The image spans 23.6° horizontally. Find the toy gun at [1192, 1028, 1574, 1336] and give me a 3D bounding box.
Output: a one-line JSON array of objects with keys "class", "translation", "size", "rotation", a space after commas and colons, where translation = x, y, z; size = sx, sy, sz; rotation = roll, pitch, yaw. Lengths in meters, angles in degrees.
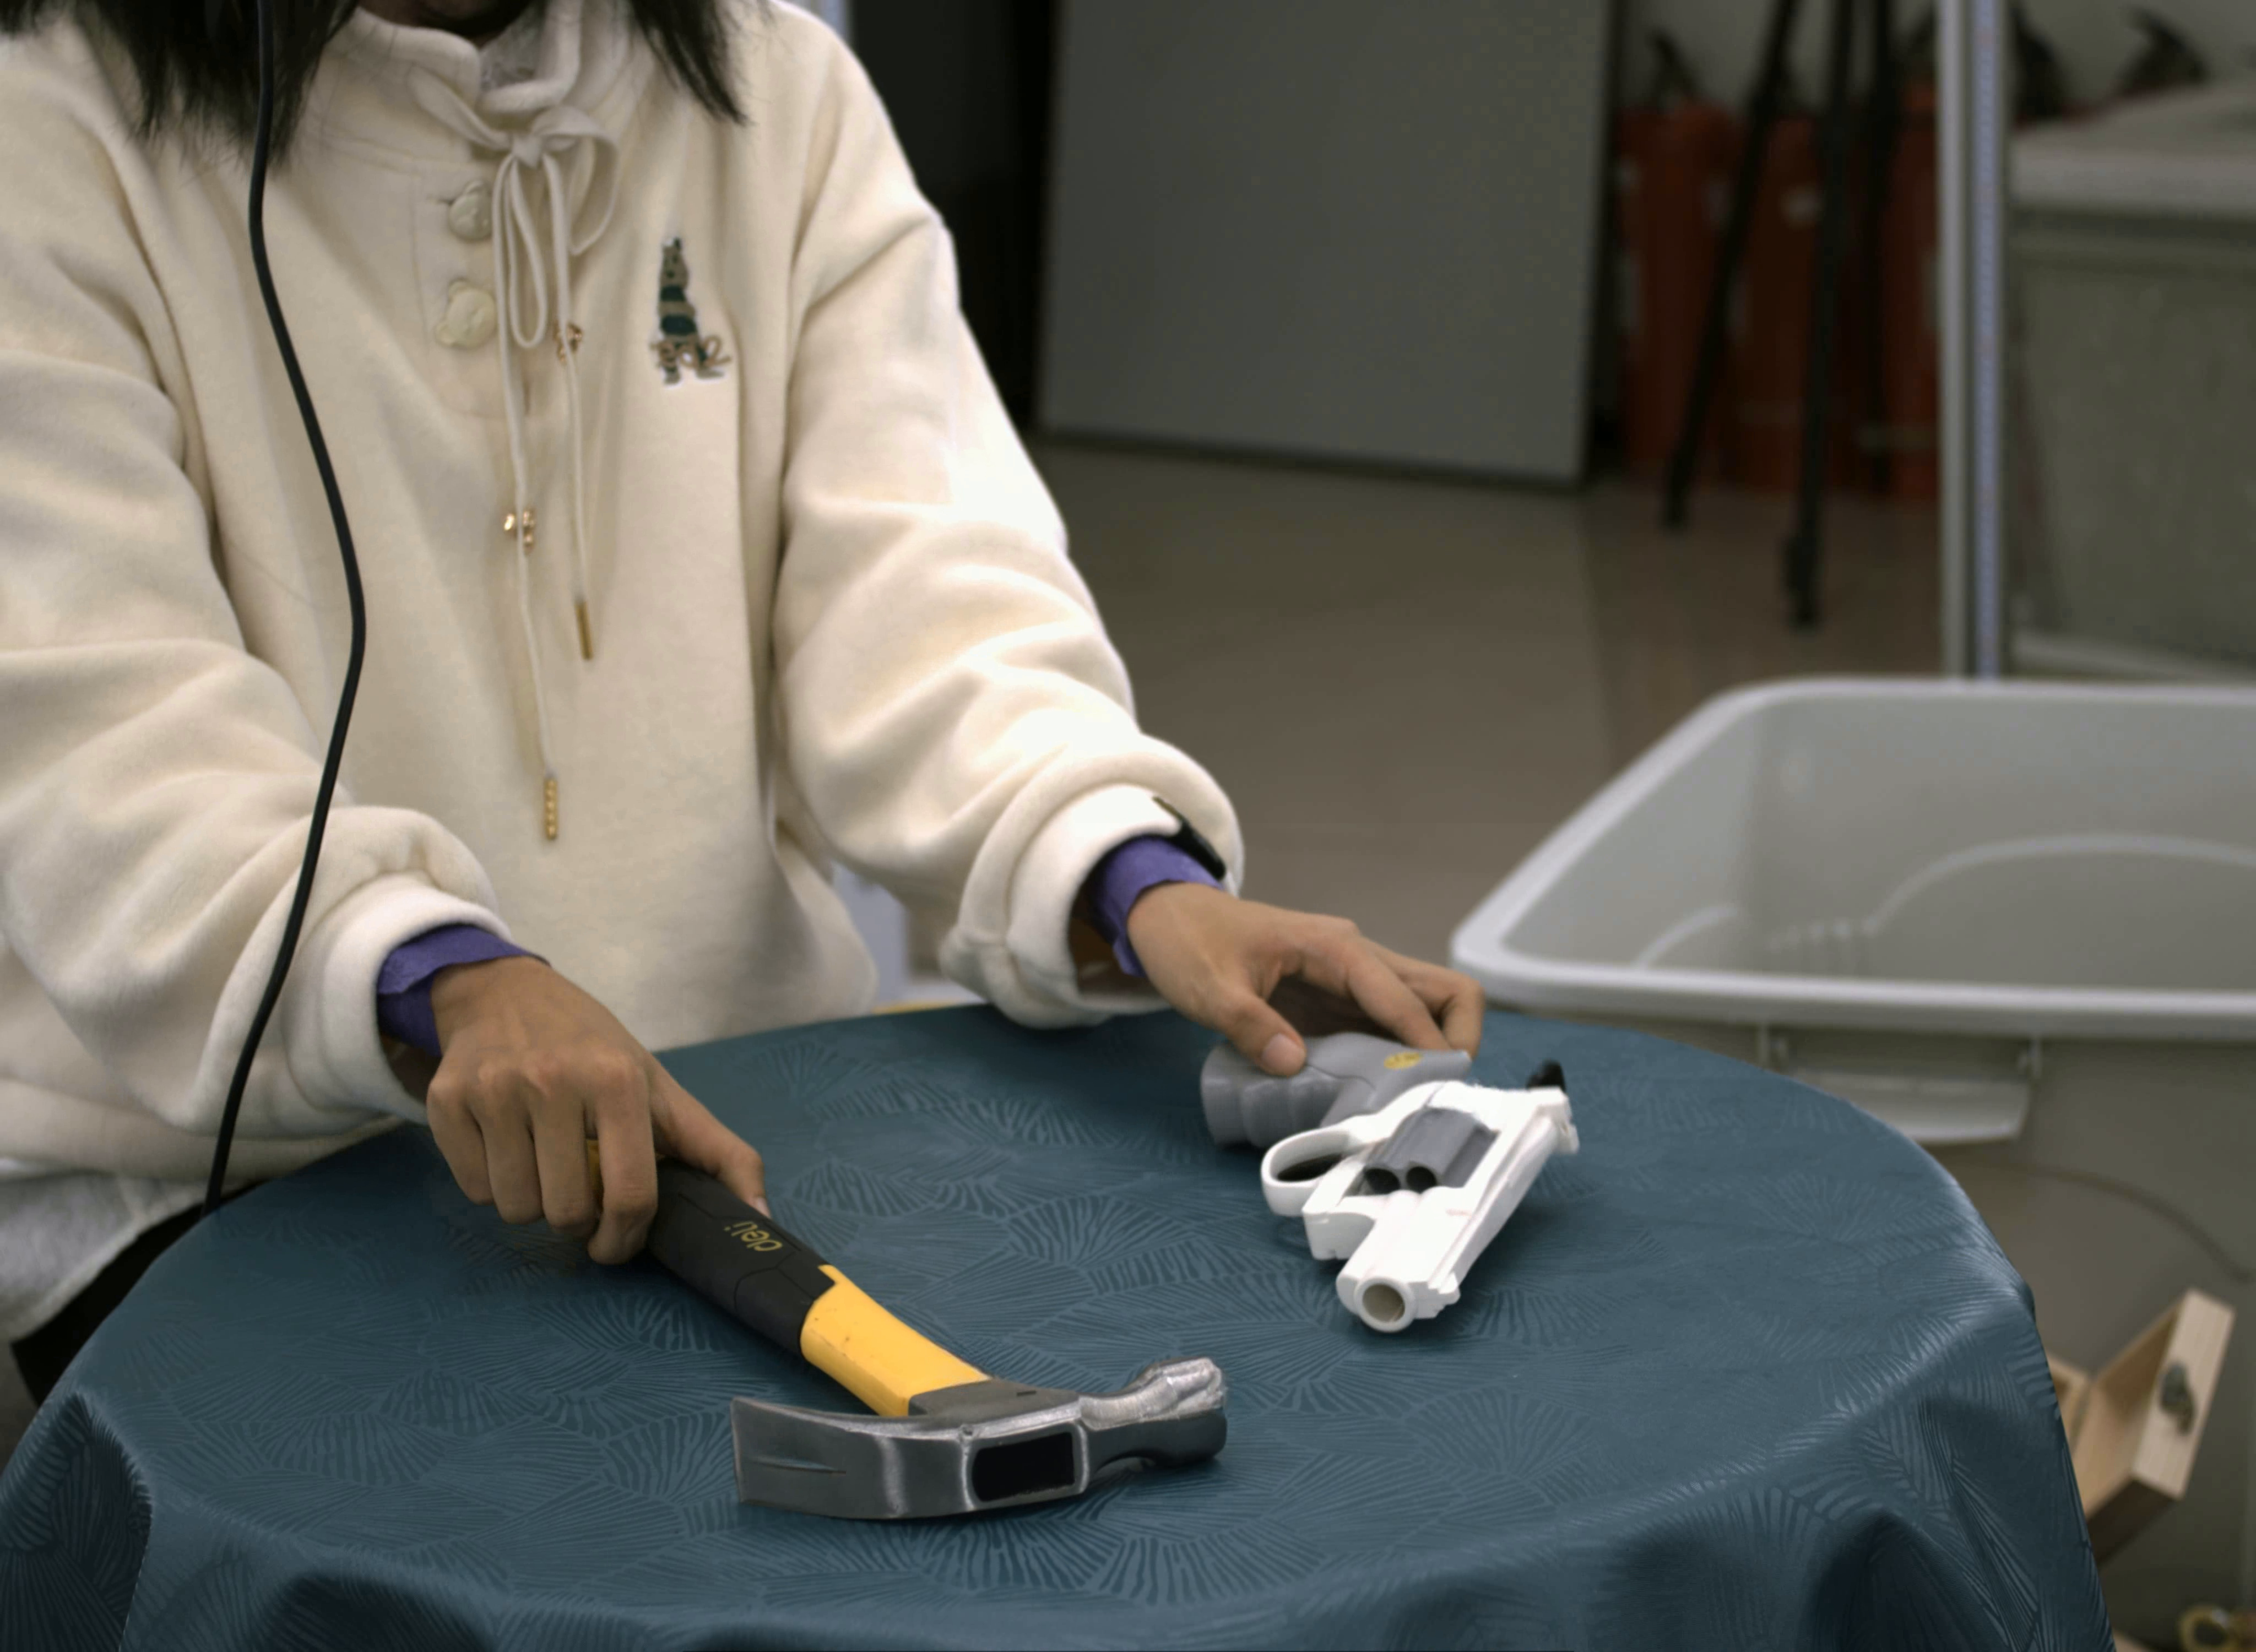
[{"class": "toy gun", "translation": [0.069, 0.109, 1.716], "size": [0.141, 0.039, 0.207], "rotation": [-8, 19, 23]}]

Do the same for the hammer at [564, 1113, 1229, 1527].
[{"class": "hammer", "translation": [-0.099, 0.141, 1.639], "size": [0.128, 0.032, 0.342], "rotation": [-12, 17, -22]}]
